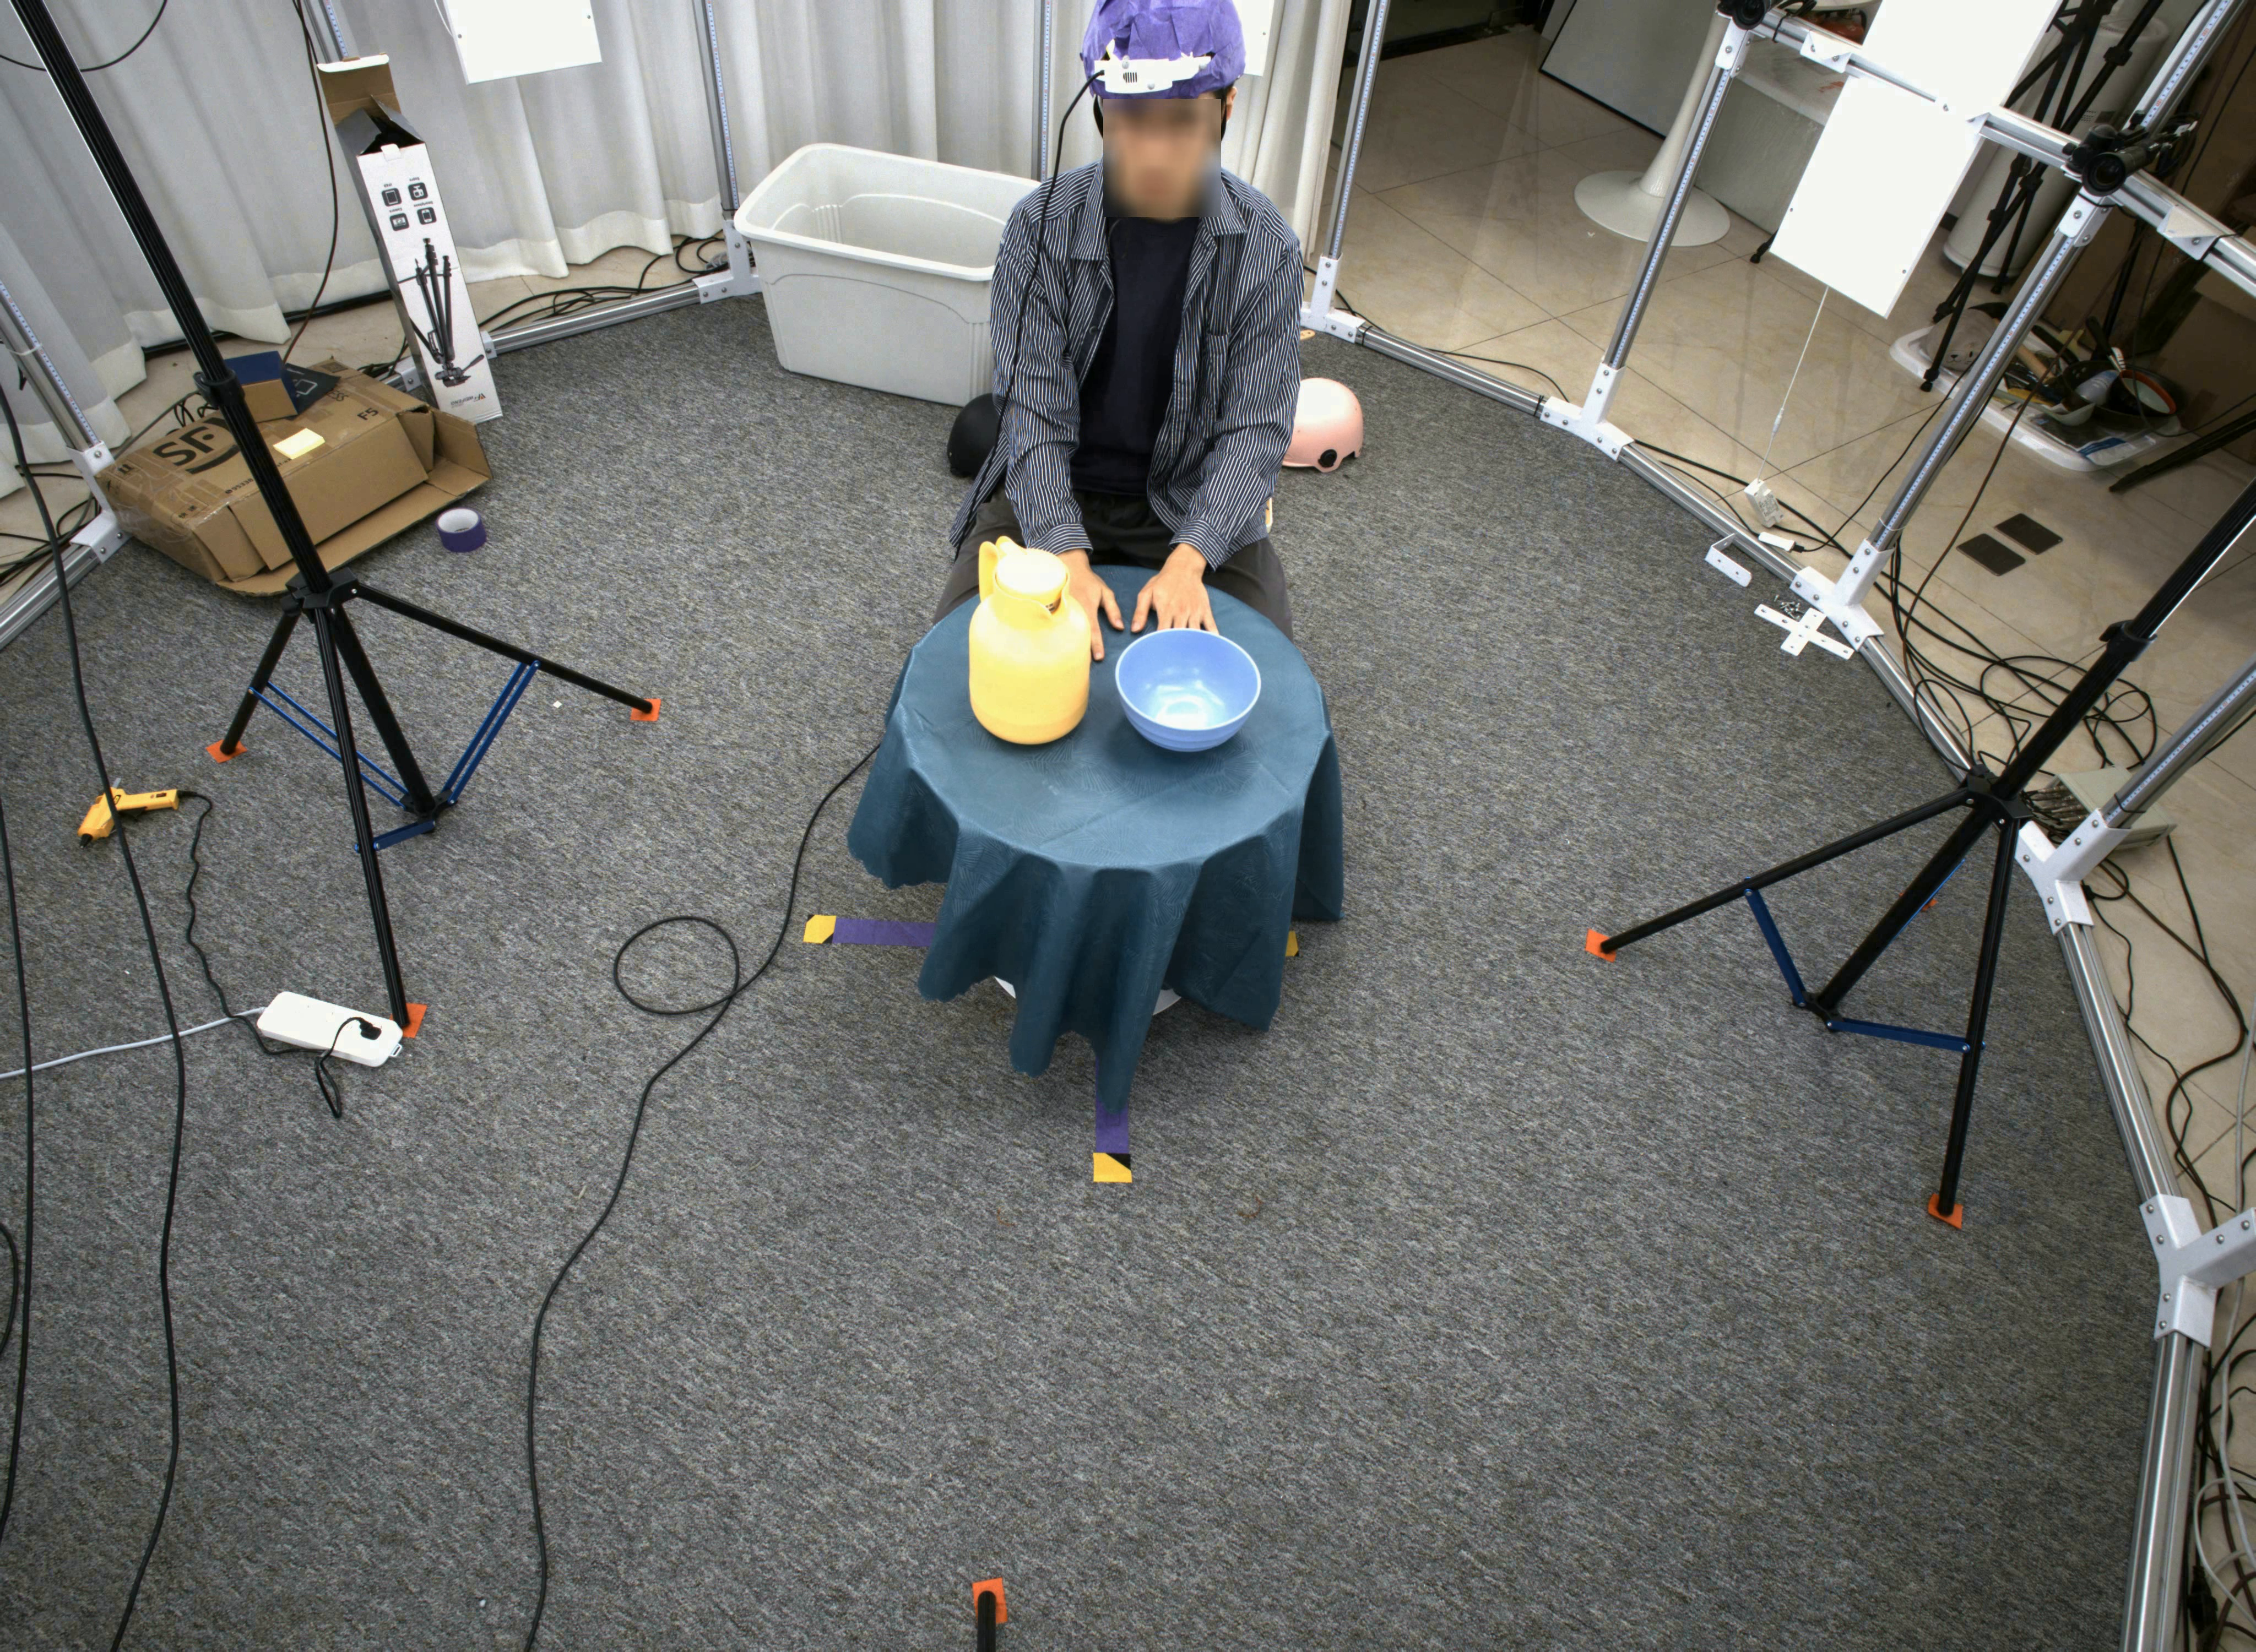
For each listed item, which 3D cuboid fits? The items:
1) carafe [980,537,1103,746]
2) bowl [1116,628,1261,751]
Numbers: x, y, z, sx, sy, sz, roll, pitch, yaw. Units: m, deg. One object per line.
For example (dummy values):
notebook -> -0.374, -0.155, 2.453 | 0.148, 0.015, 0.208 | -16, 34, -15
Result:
carafe -> -0.122, -0.252, 1.699 | 0.164, 0.254, 0.206 | -24, 54, -23
bowl -> 0.078, -0.171, 1.753 | 0.196, 0.093, 0.201 | 2, 49, -3
